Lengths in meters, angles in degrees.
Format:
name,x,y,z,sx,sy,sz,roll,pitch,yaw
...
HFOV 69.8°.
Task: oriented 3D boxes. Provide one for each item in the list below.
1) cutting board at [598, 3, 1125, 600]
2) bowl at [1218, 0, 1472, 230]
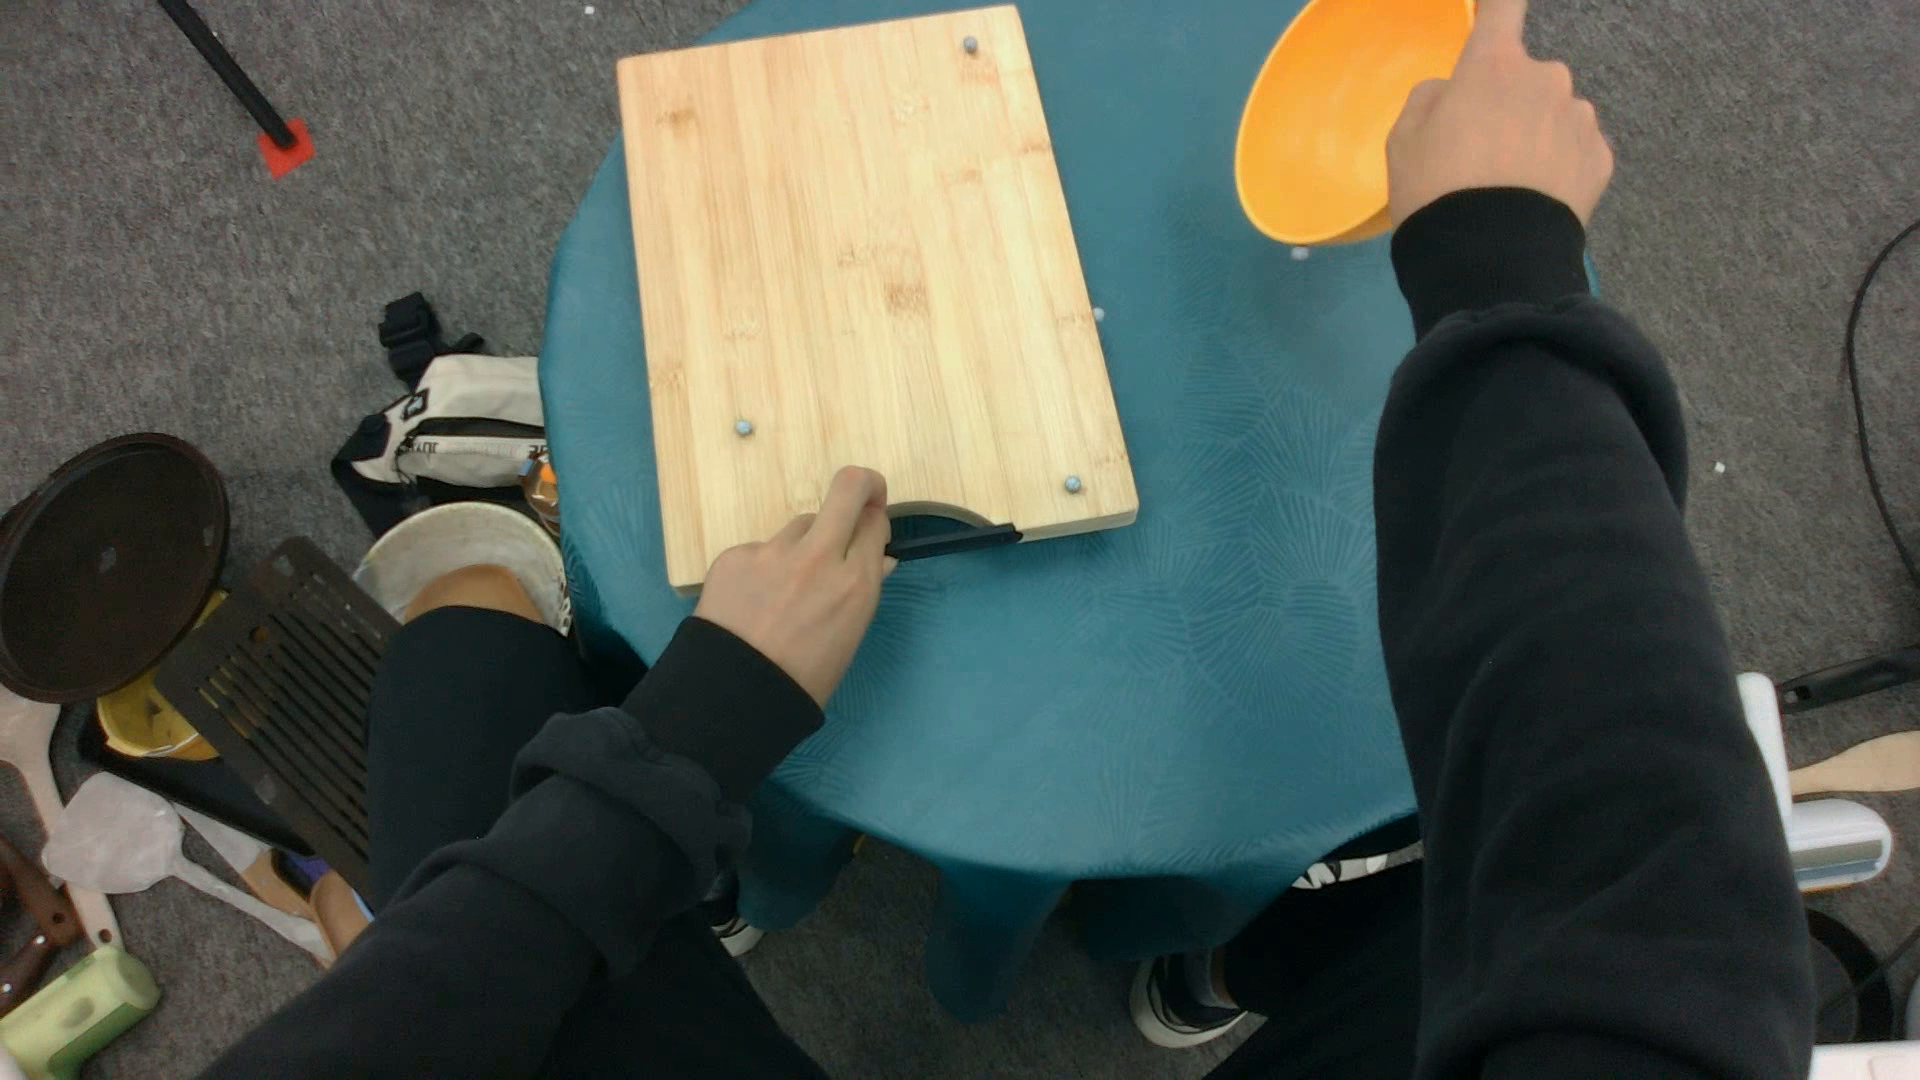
name,x,y,z,sx,sy,sz,roll,pitch,yaw
cutting board,-0.065,-0.148,0.758,0.251,0.023,0.349,-11,67,-4
bowl,0.201,-0.217,0.689,0.060,0.144,0.146,15,67,-35
